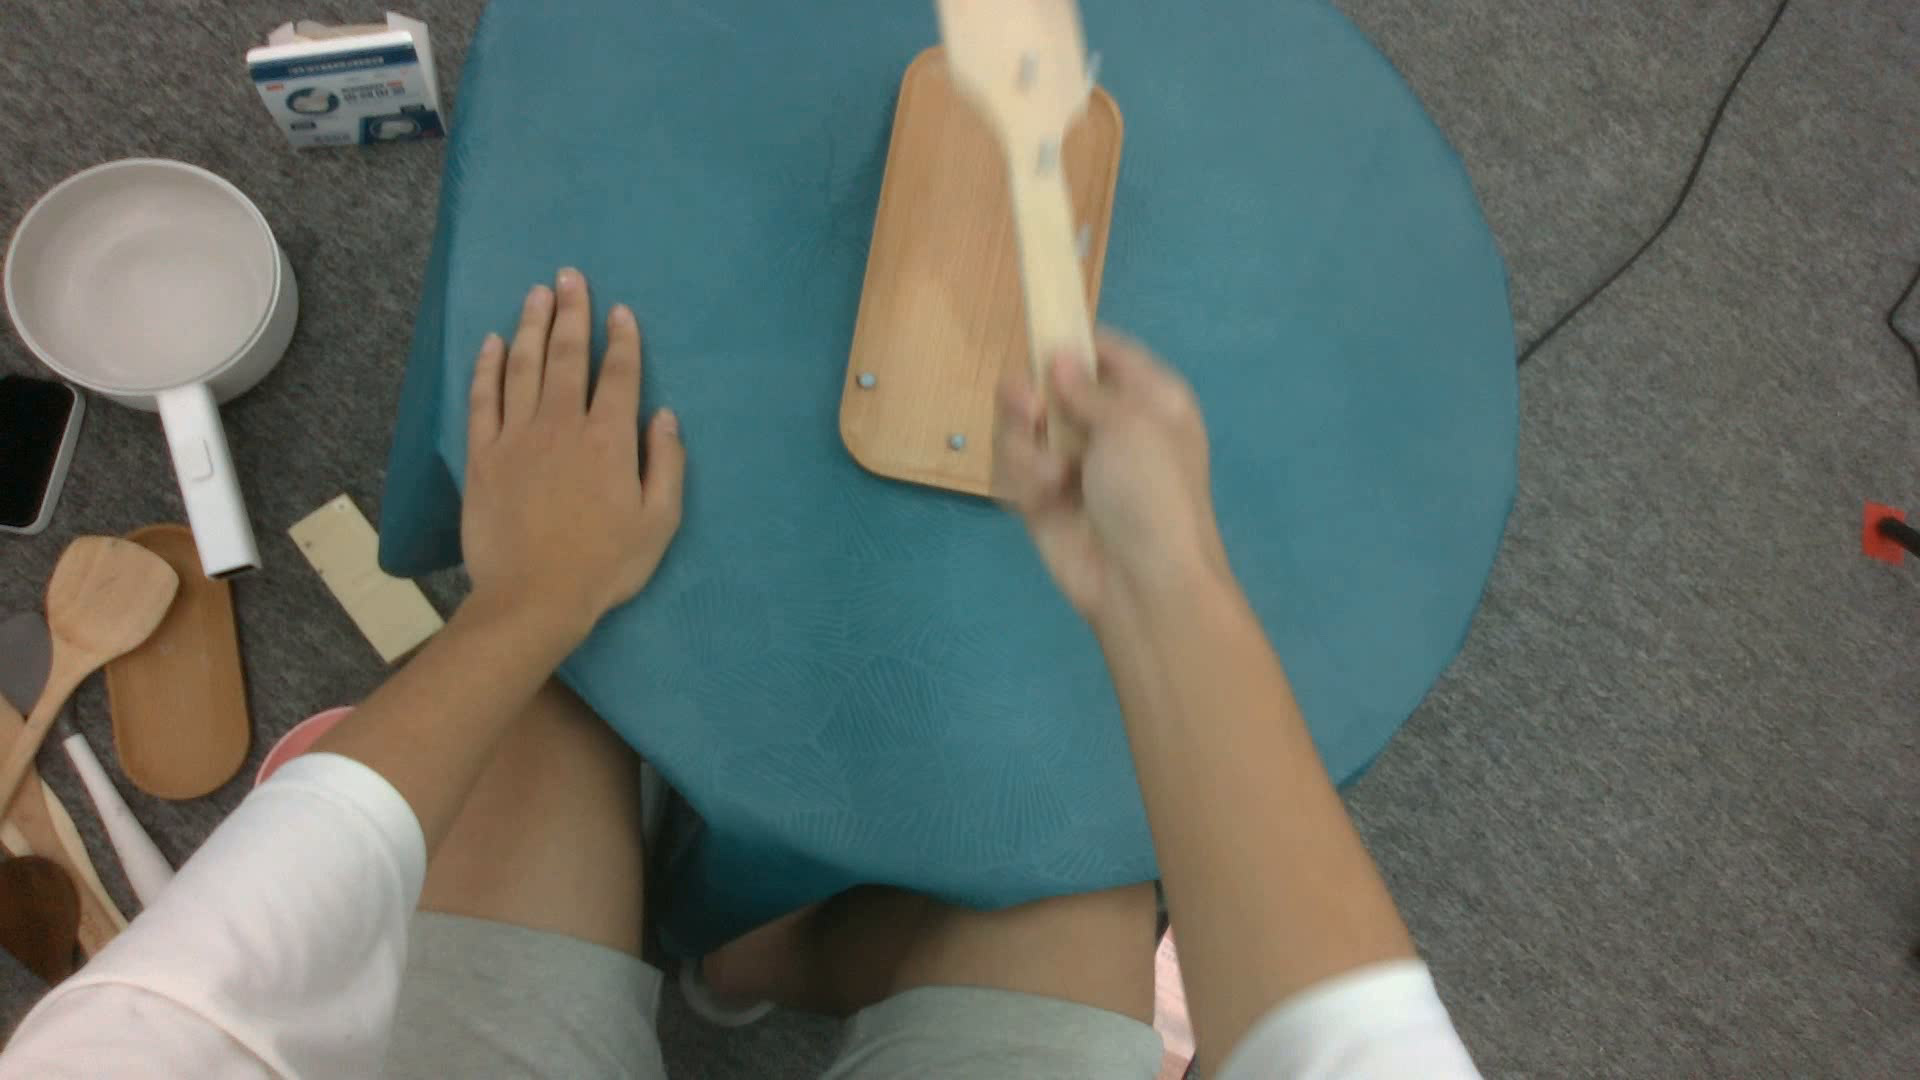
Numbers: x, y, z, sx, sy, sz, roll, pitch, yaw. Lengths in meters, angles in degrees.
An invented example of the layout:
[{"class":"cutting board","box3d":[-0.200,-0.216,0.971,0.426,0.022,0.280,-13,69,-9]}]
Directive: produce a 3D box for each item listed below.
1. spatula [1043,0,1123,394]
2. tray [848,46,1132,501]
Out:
[{"class":"spatula","box3d":[0.051,-0.198,0.584,0.072,0.010,0.294,8,72,-20]},{"class":"tray","box3d":[0.018,-0.149,0.761,0.130,0.023,0.251,13,78,-11]}]
